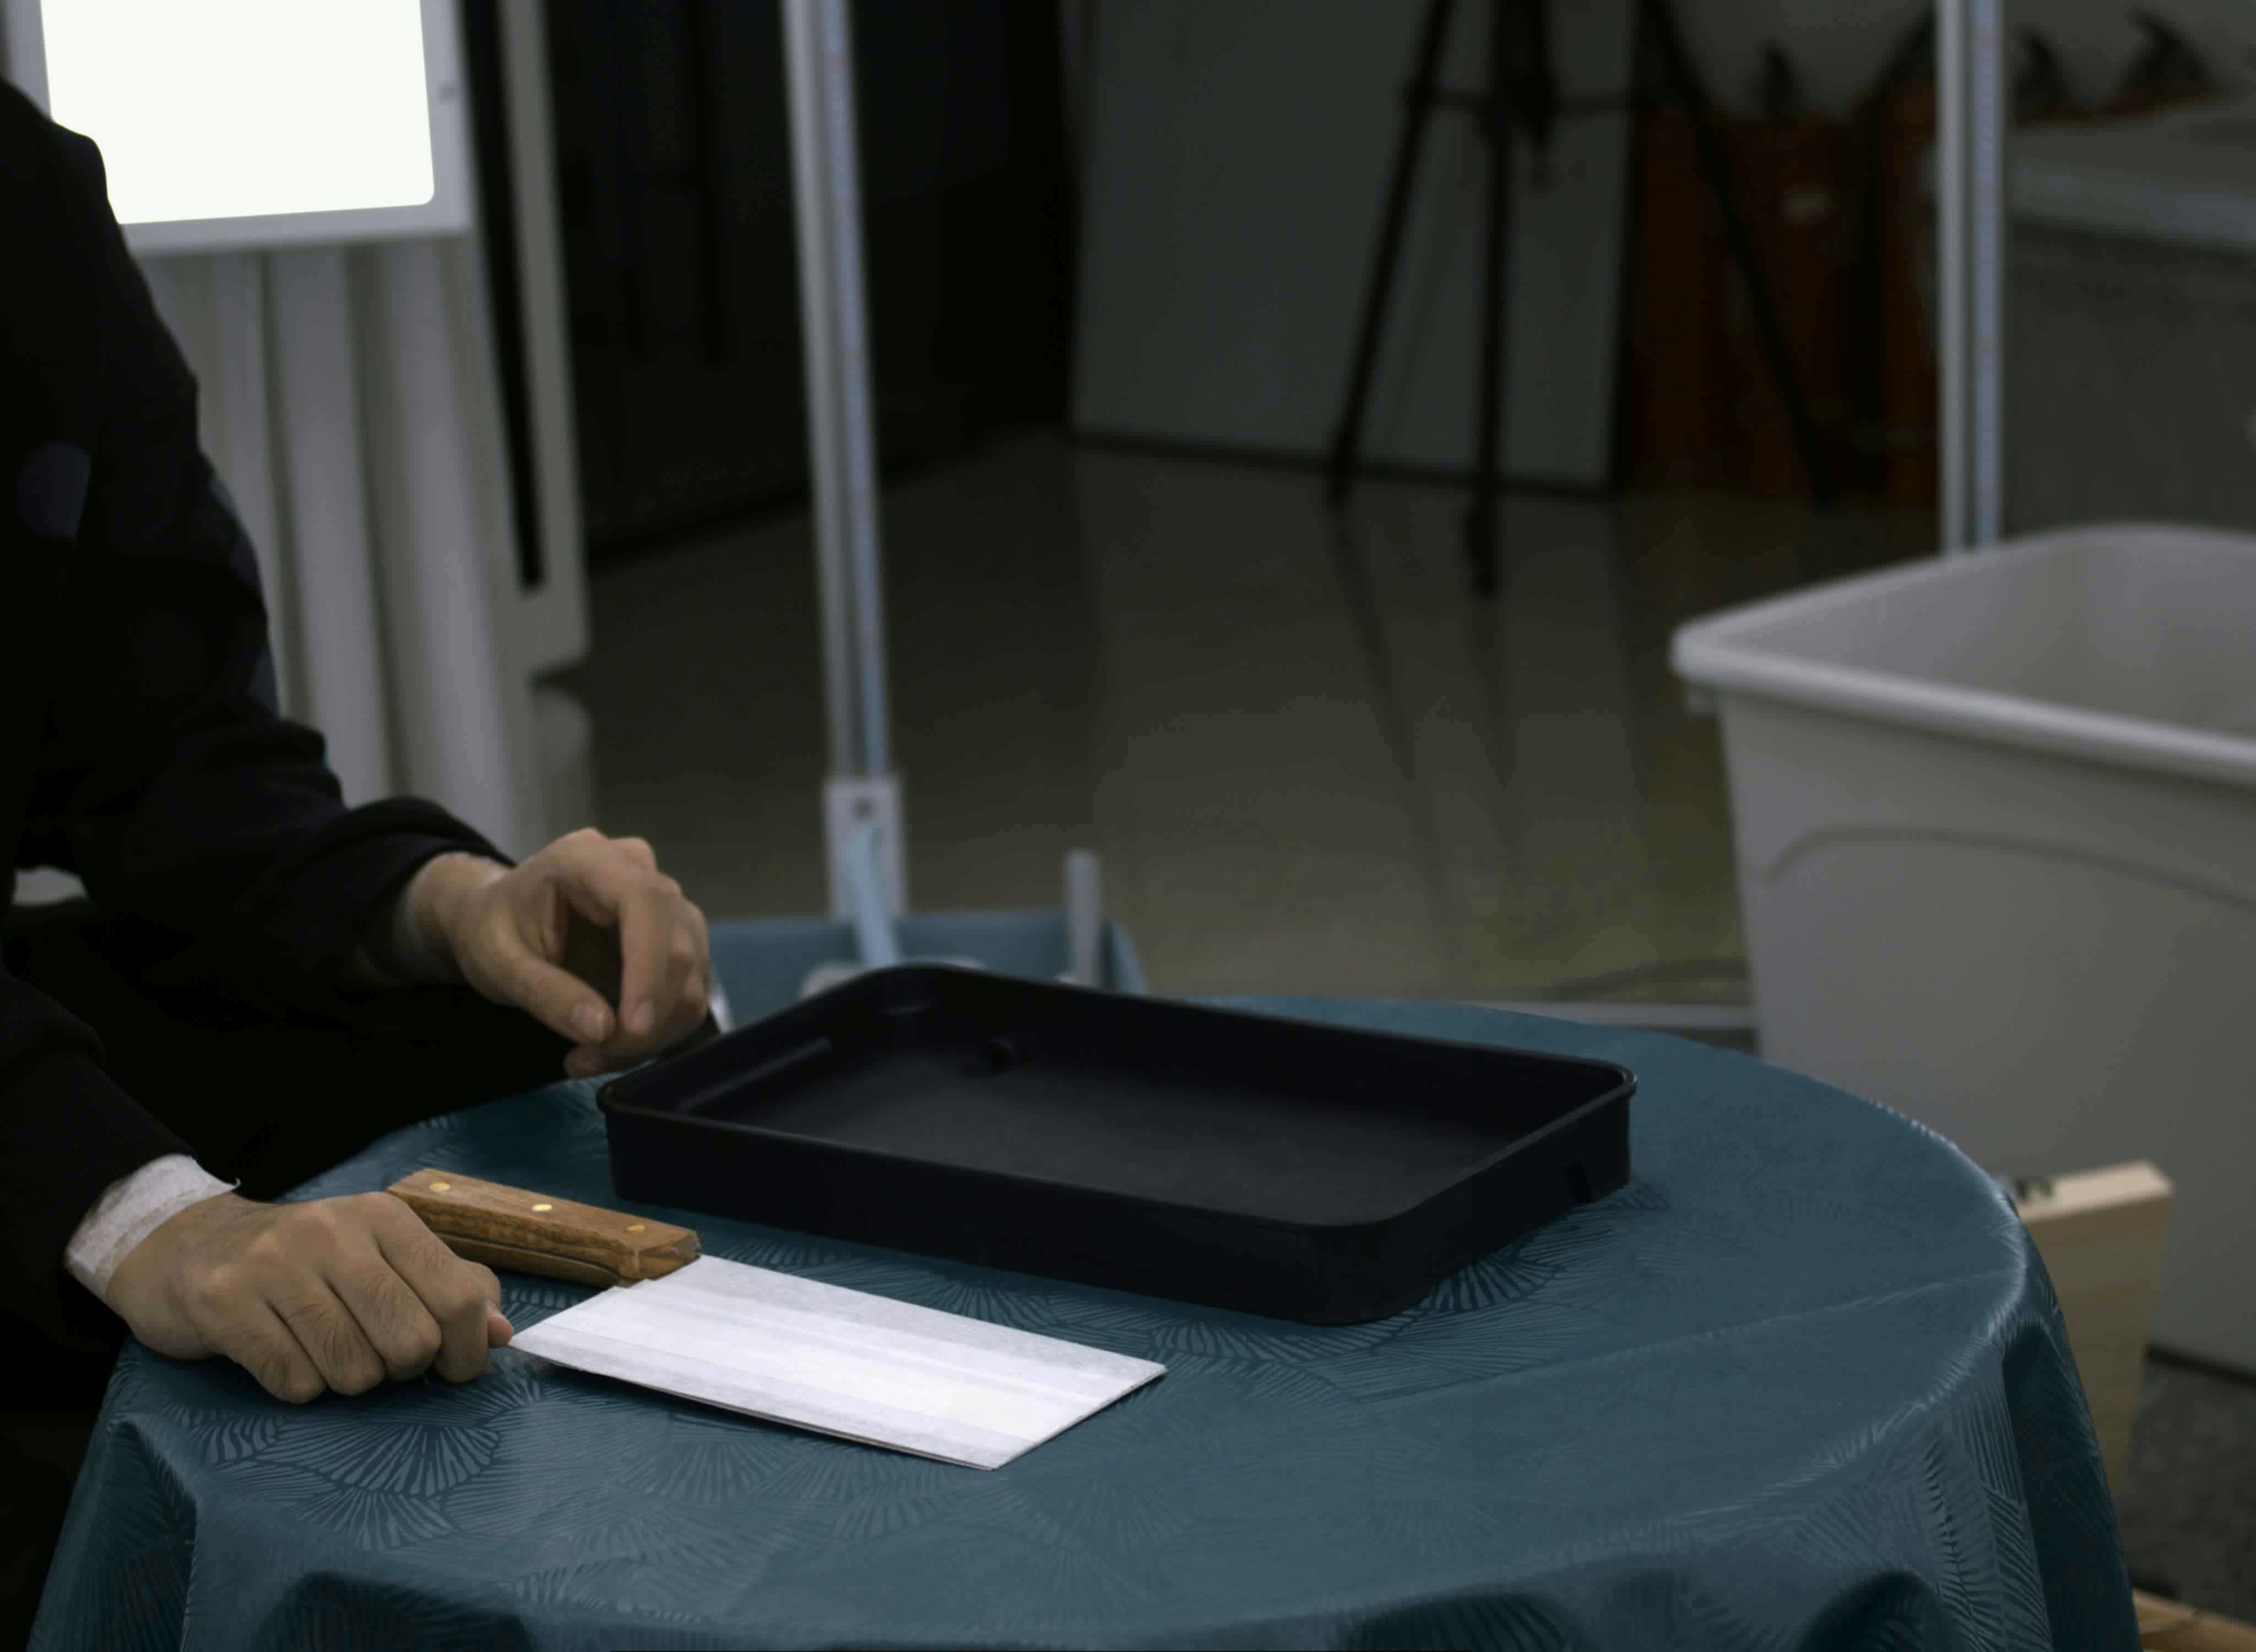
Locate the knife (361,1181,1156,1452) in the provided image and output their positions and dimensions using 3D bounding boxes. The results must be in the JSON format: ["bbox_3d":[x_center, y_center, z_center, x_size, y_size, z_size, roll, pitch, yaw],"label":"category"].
[{"bbox_3d":[-0.134,0.152,1.654,0.308,0.021,0.091,9,21,36],"label":"knife"}]

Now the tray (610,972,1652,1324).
[{"bbox_3d":[0.000,0.102,1.772,0.320,0.037,0.181,5,17,35],"label":"tray"}]
